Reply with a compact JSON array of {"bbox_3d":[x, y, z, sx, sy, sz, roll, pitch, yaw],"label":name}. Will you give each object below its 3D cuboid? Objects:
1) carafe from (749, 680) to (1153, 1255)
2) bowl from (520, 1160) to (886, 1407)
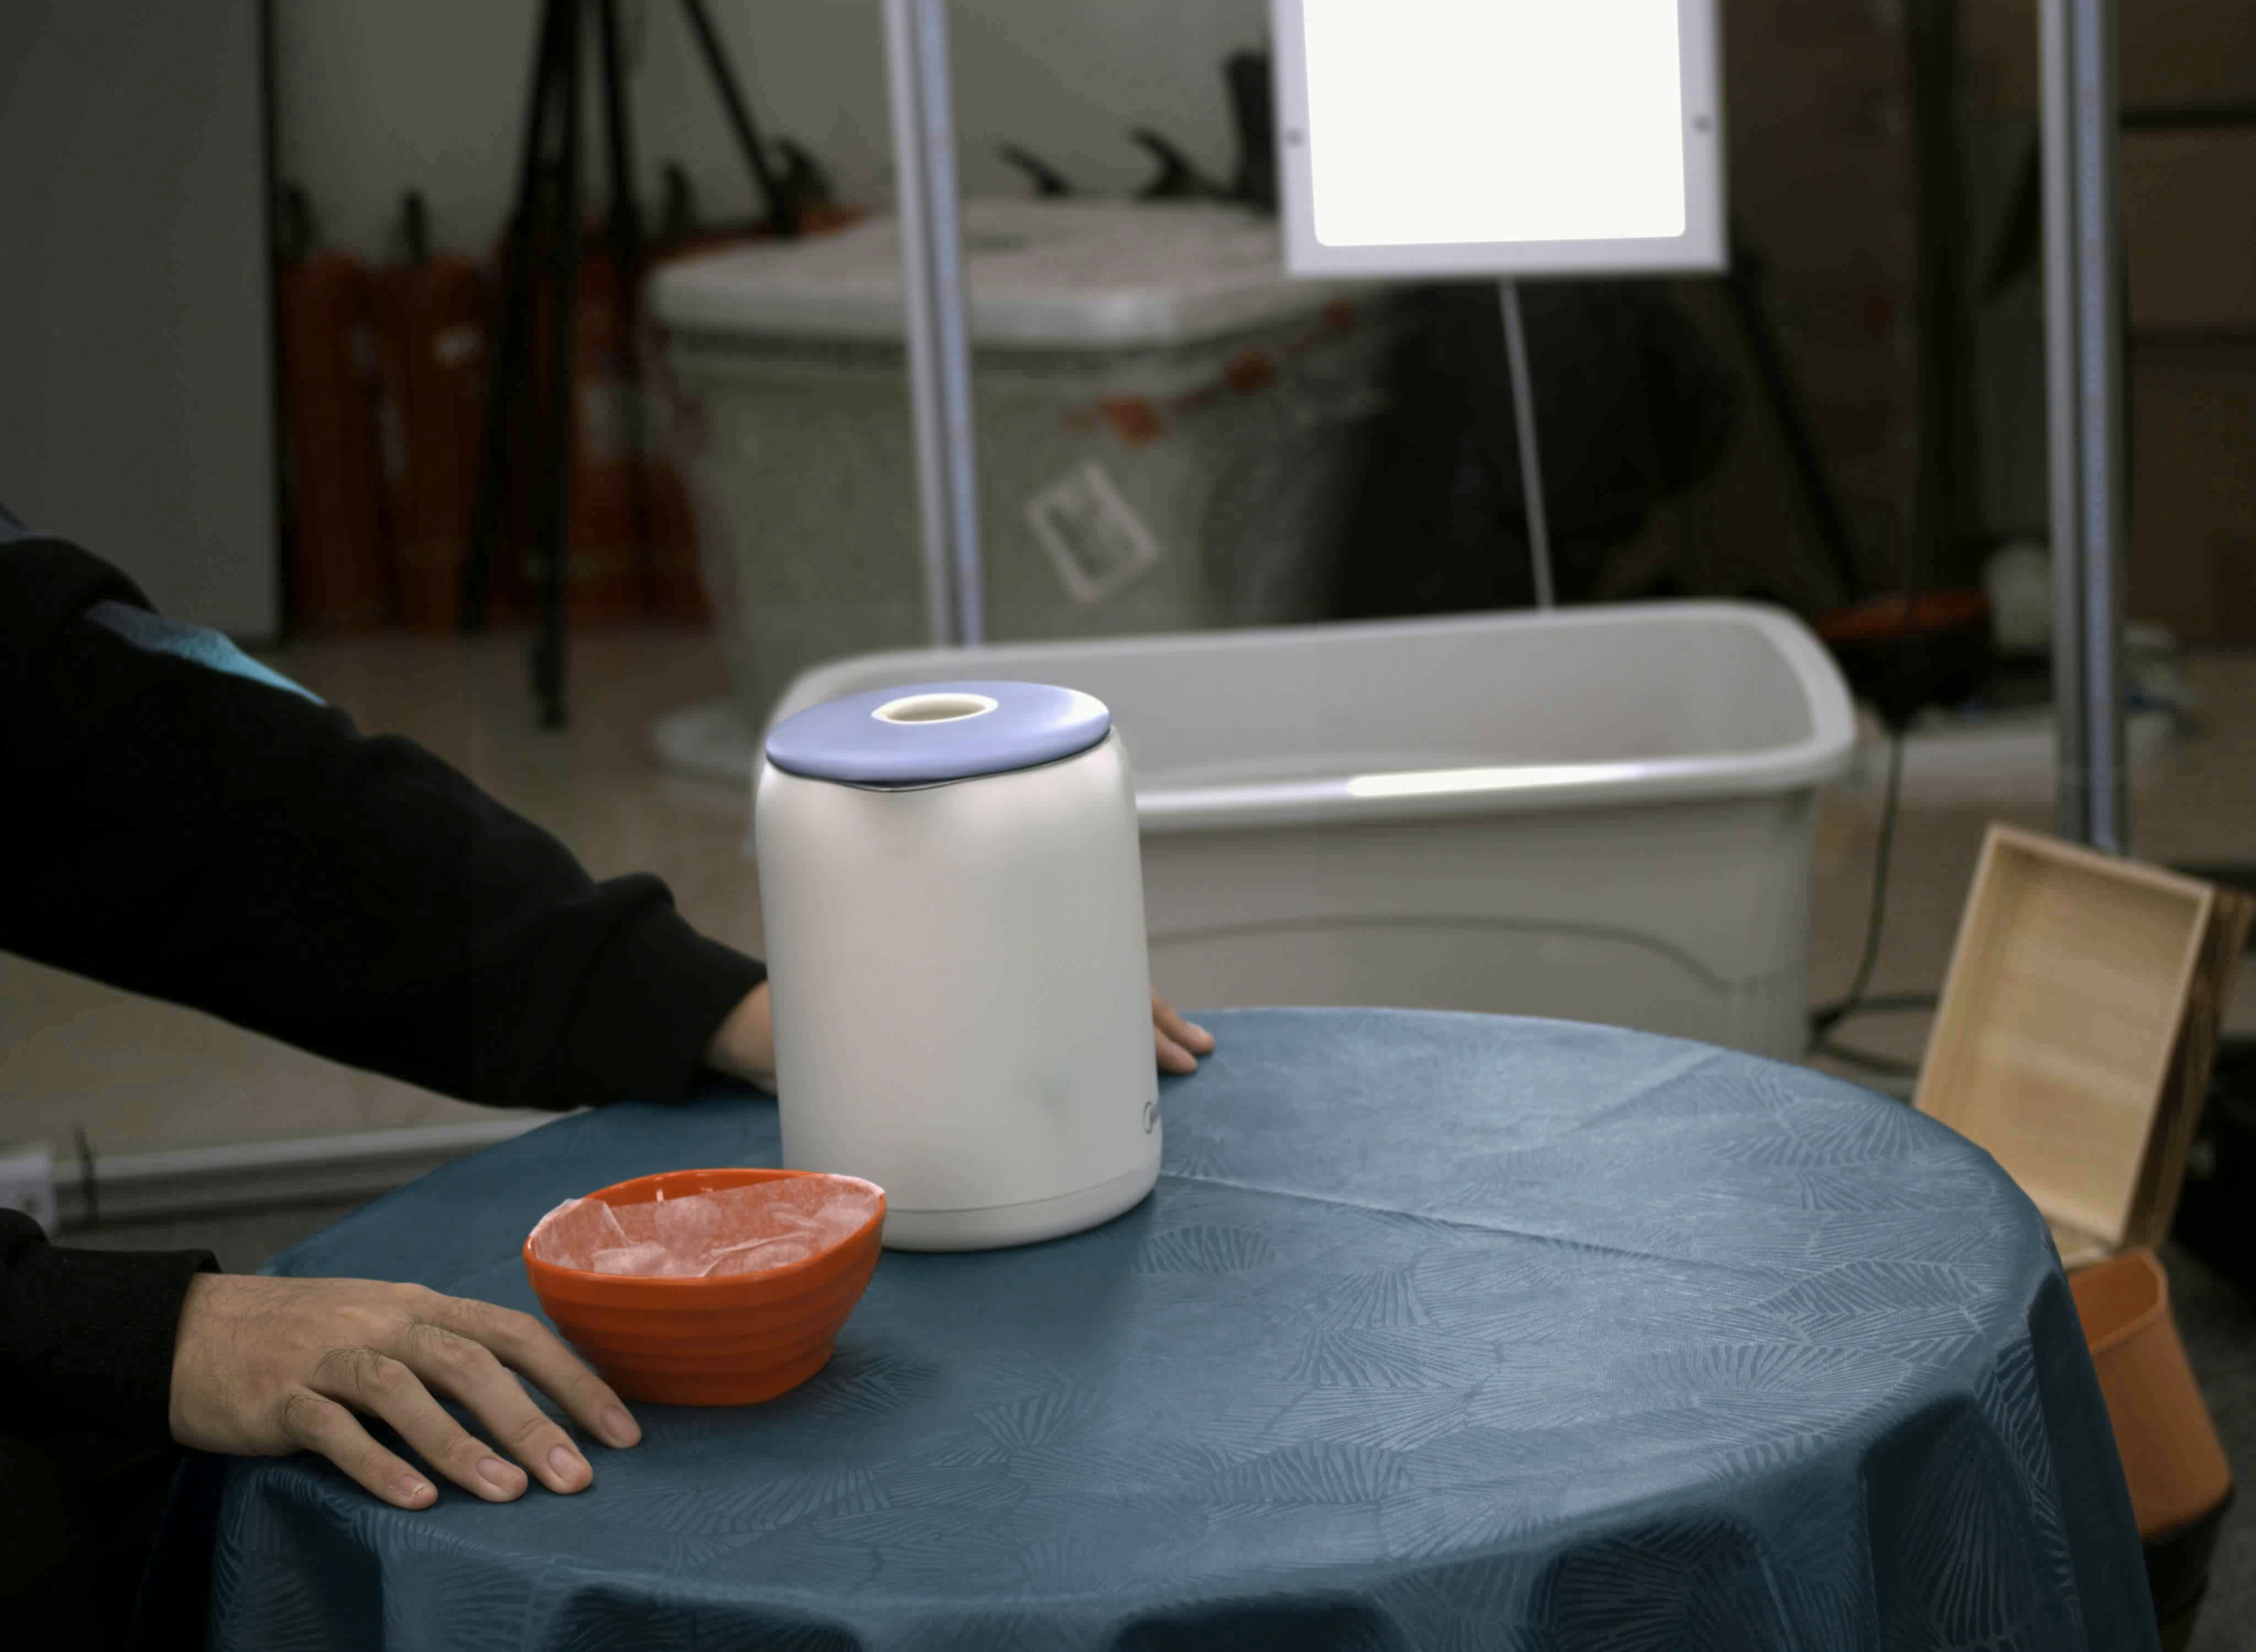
[{"bbox_3d":[-0.056,0.042,1.905,0.133,0.183,0.189,-1,12,10],"label":"carafe"},{"bbox_3d":[-0.132,0.147,1.746,0.118,0.051,0.119,-4,16,0],"label":"bowl"}]
